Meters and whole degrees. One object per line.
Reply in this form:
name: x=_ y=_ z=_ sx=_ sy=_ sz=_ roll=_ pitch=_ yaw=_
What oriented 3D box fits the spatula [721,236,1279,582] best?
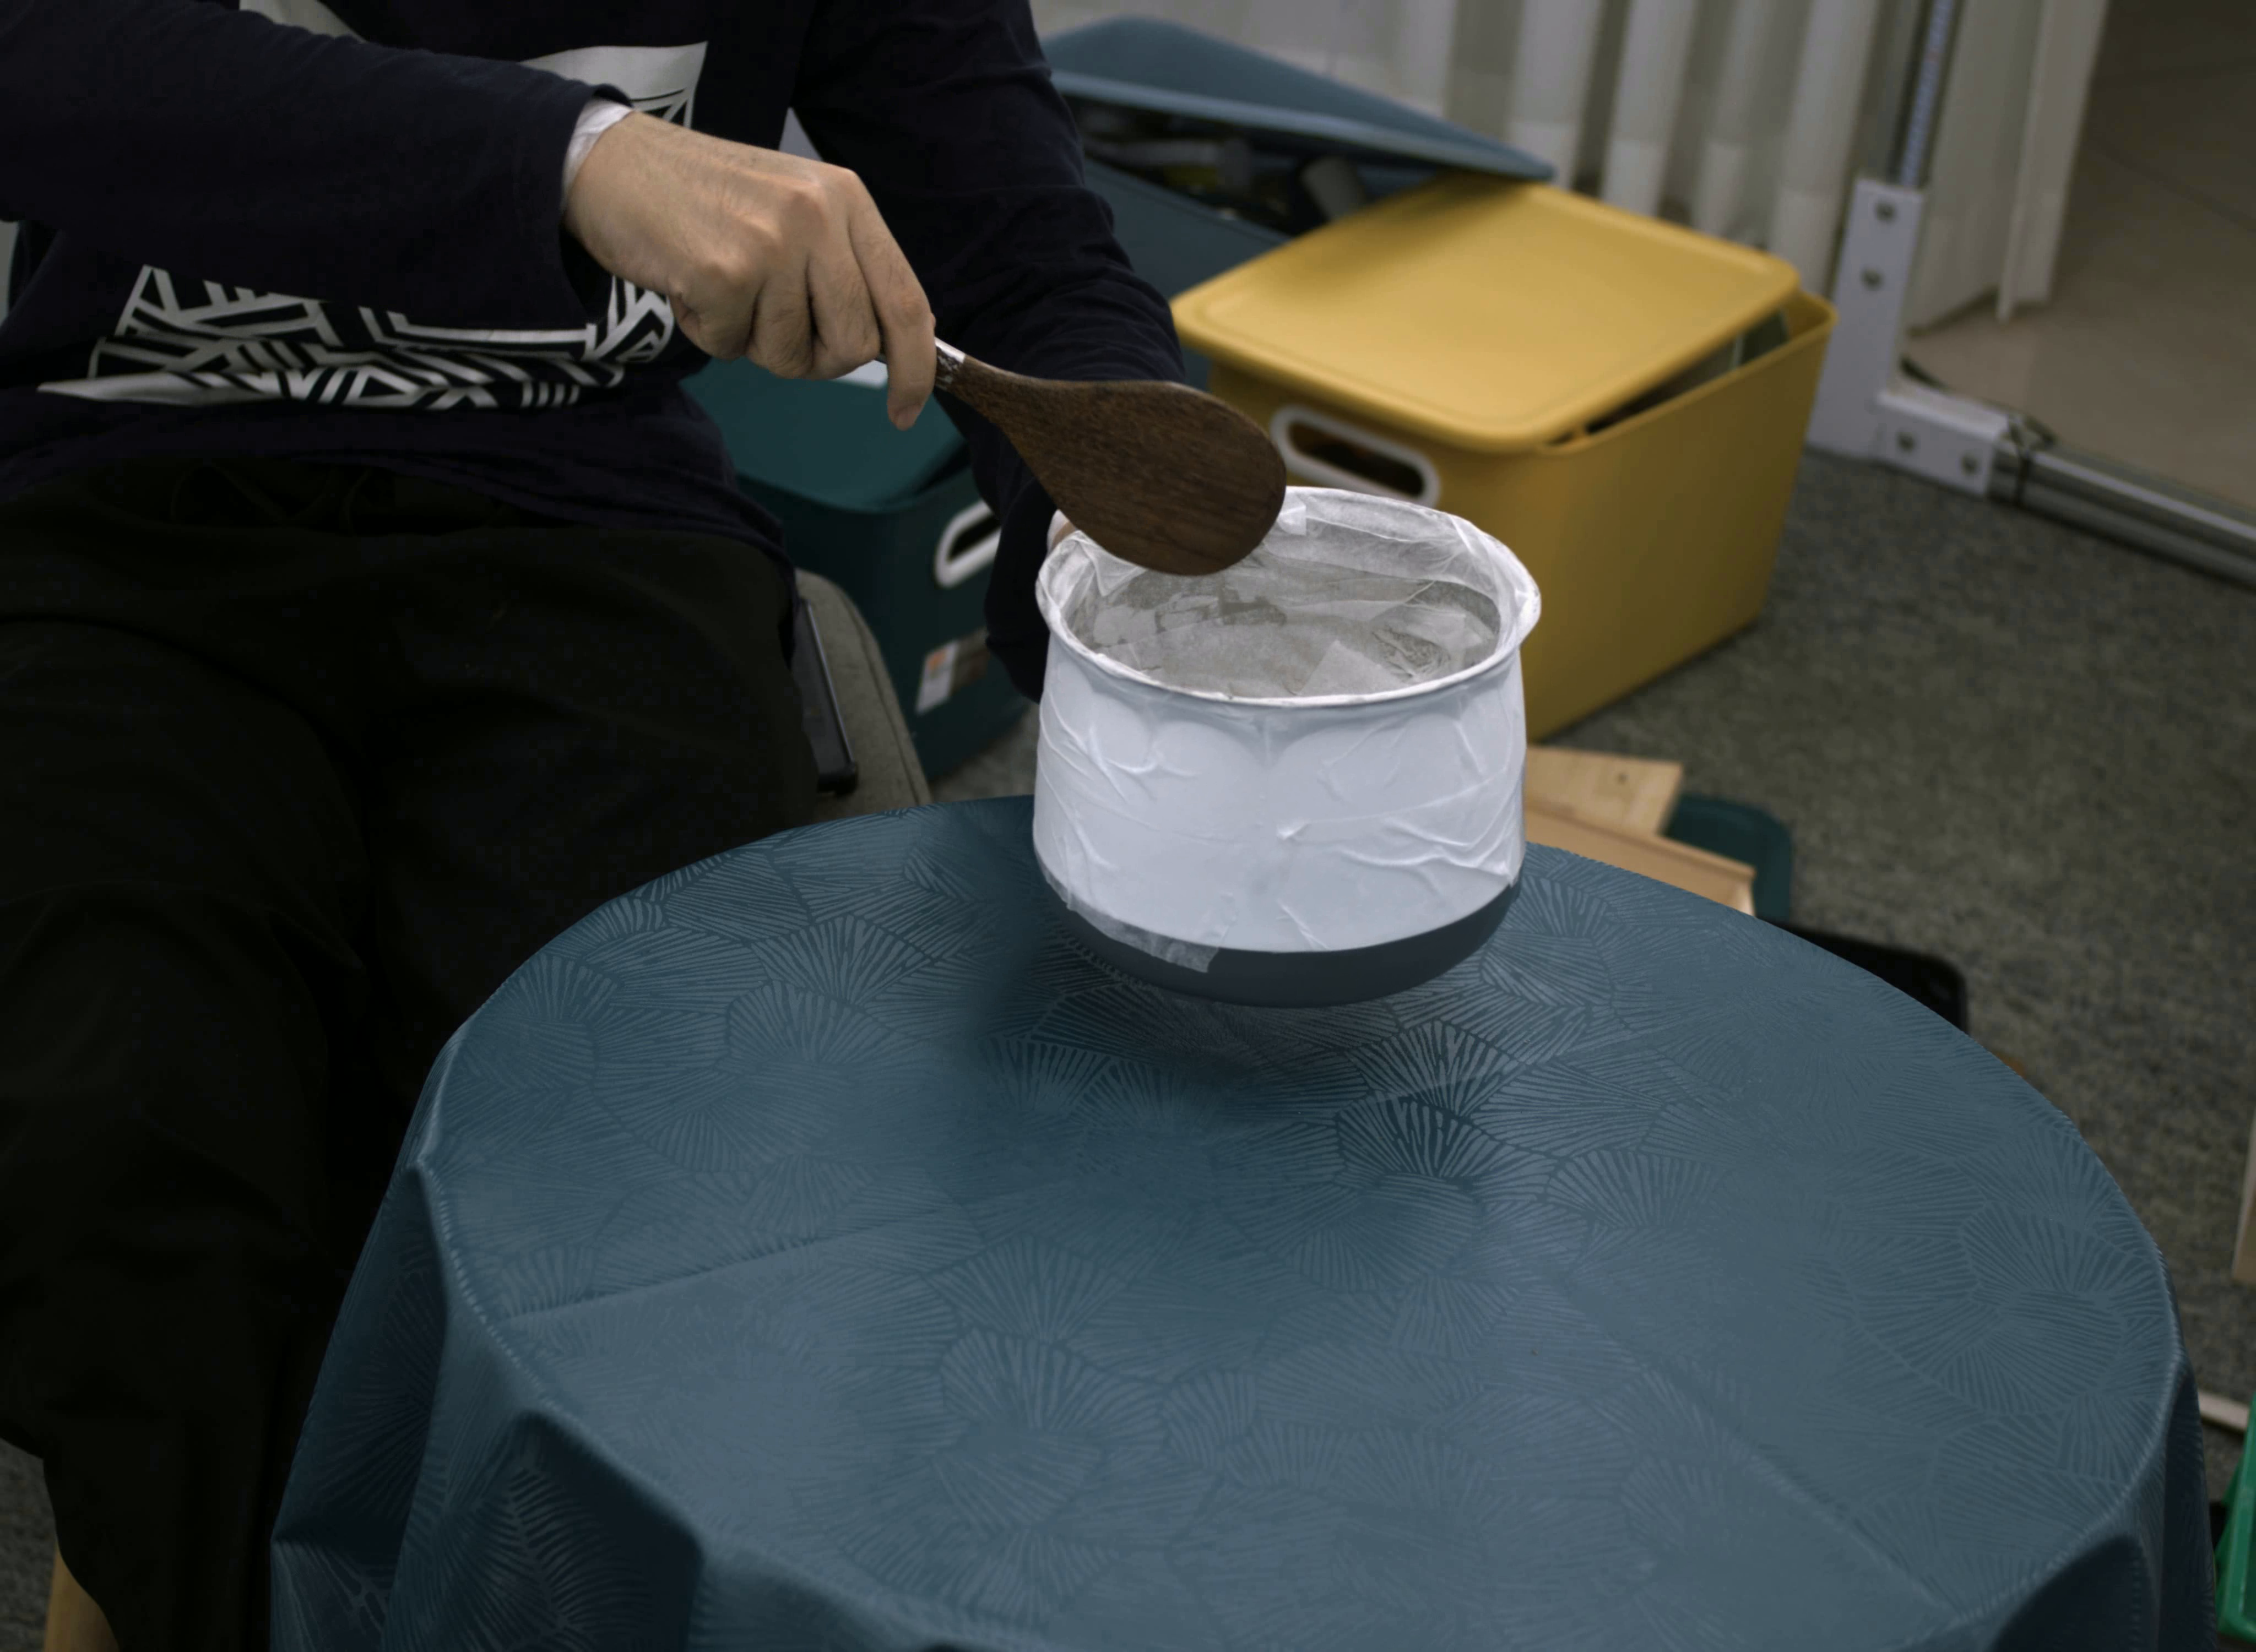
spatula: x=-0.045 y=-0.153 z=1.866 sx=0.215 sy=0.072 sz=0.009 roll=28 pitch=29 yaw=-3

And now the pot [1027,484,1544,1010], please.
pot: x=0.045 y=-0.040 z=1.917 sx=0.178 sy=0.136 sz=0.236 roll=-5 pitch=29 yaw=-17
